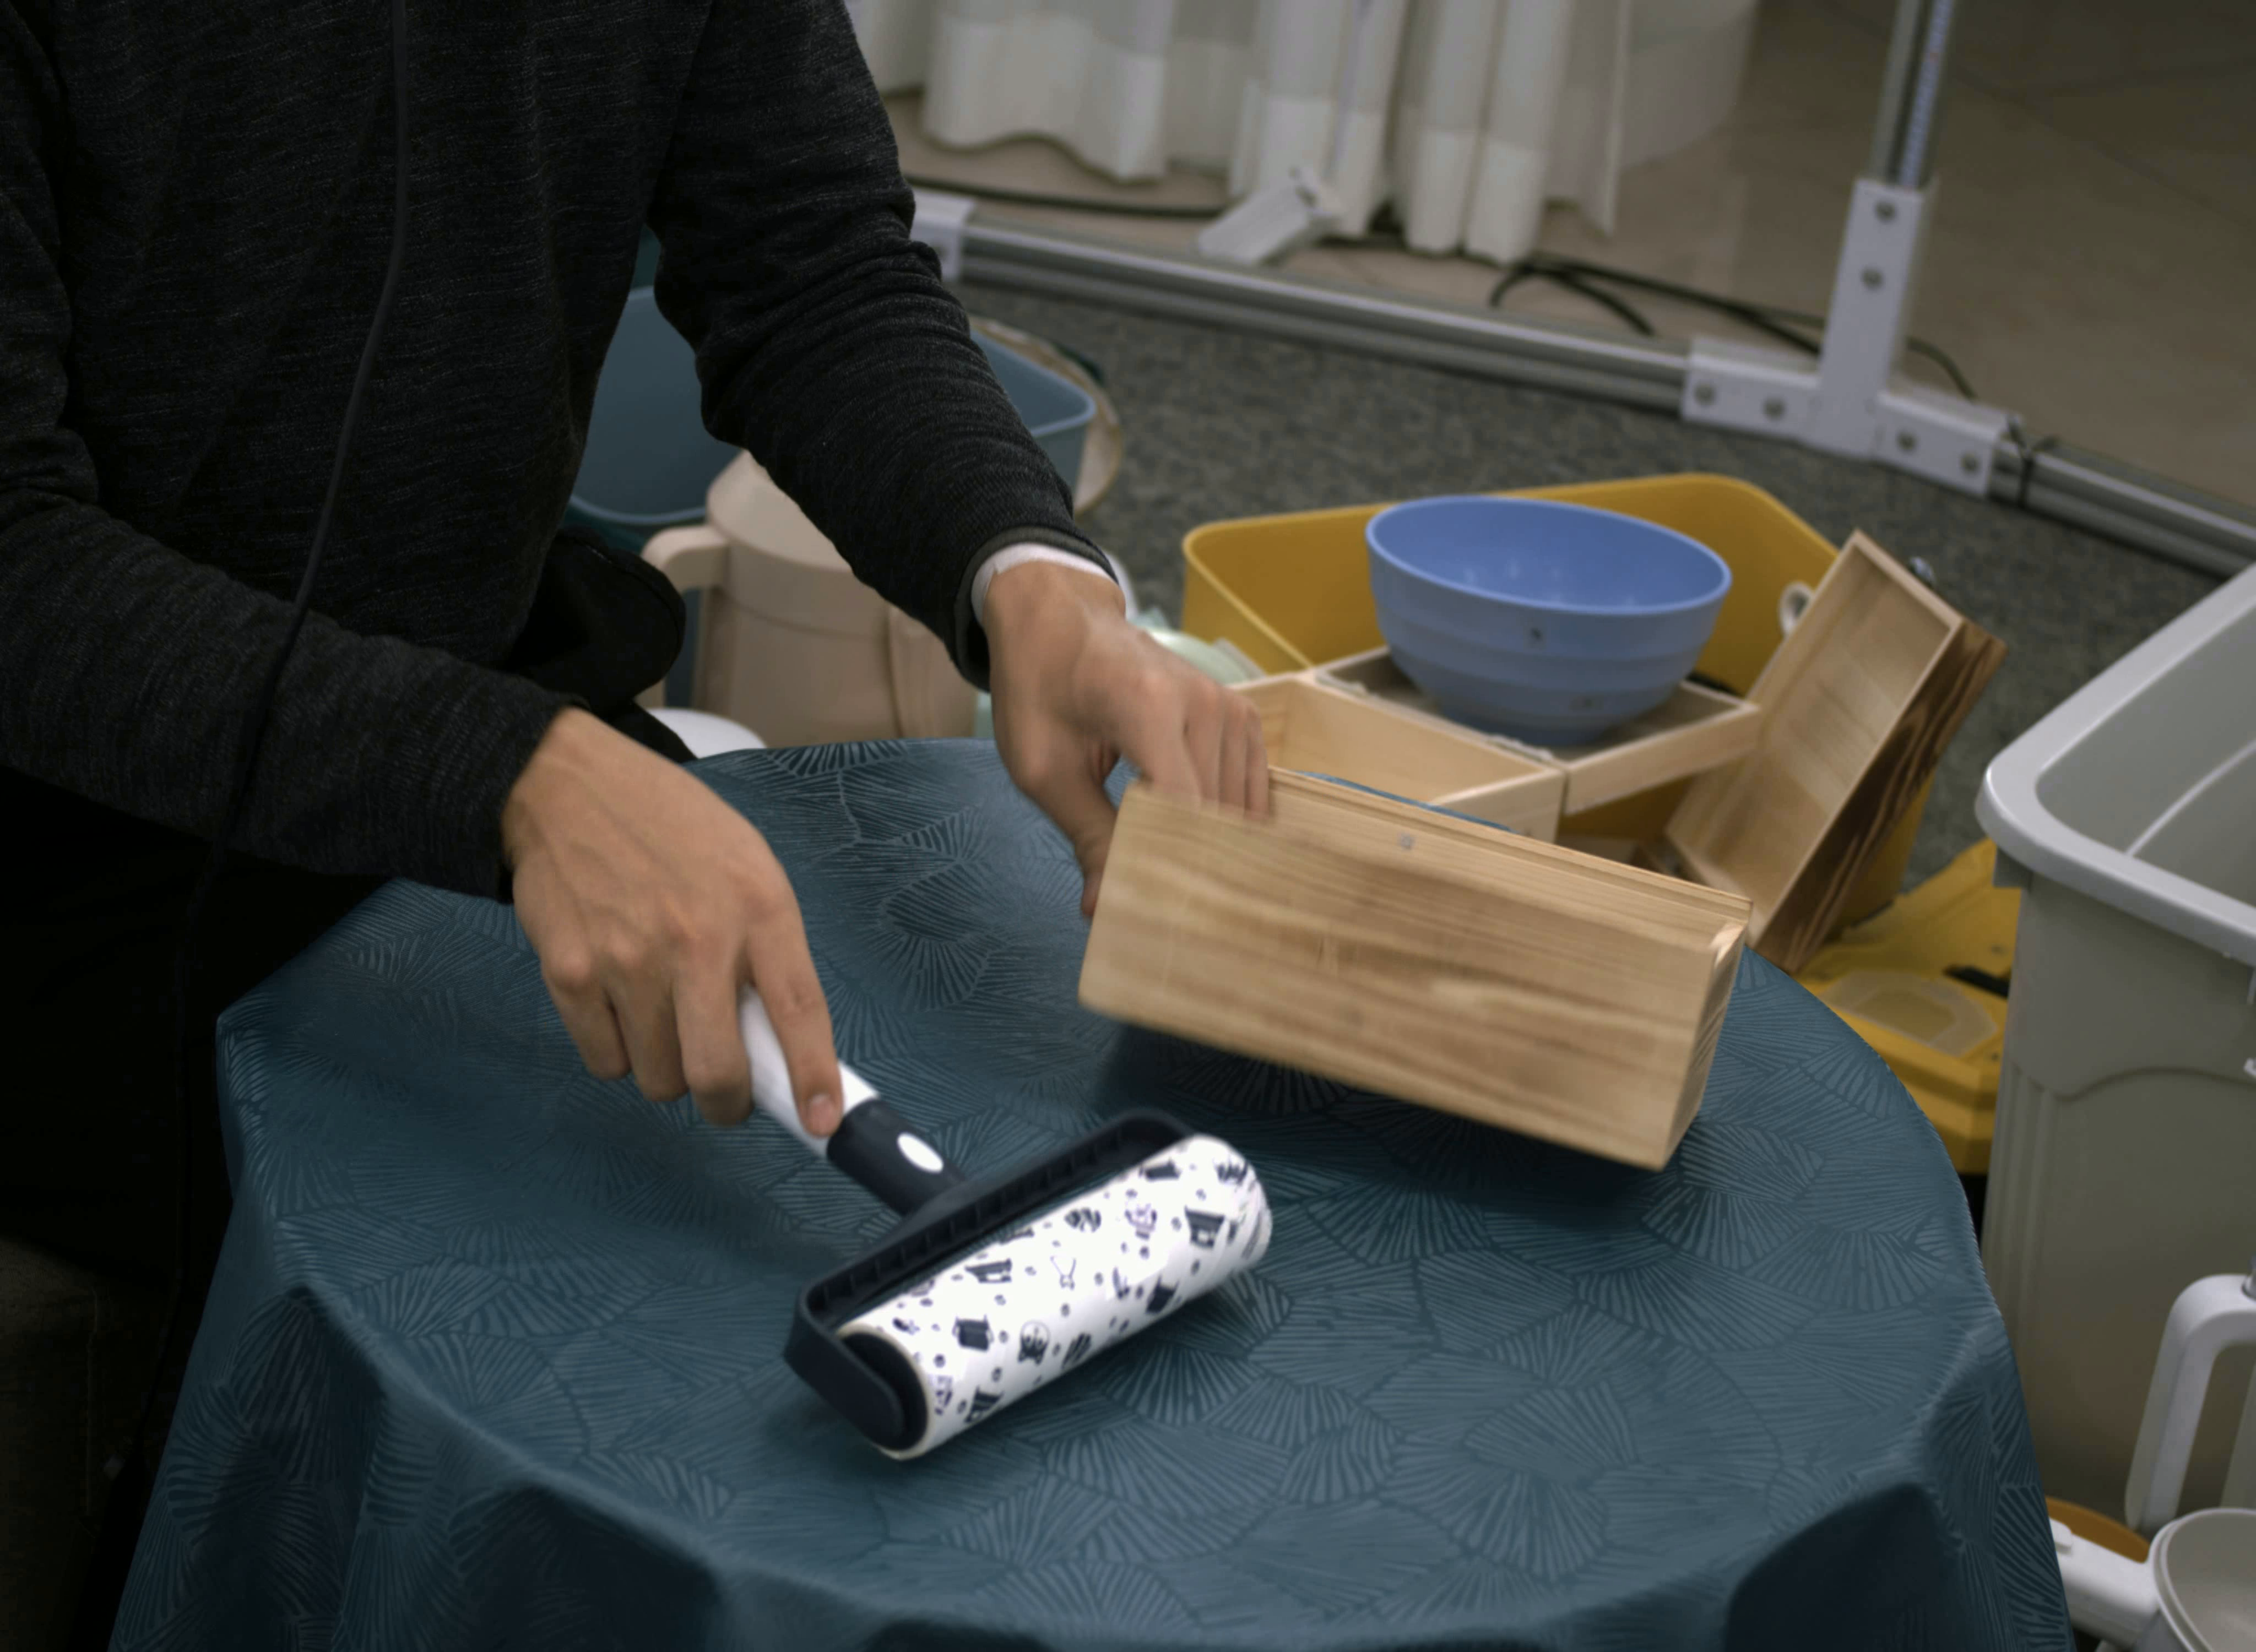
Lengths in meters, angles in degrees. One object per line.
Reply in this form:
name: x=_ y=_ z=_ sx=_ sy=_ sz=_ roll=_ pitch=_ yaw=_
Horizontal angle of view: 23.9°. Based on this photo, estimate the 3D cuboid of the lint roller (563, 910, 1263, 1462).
lint roller: x=-0.097 y=0.096 z=1.733 sx=0.249 sy=0.050 sz=0.175 roll=38 pitch=41 yaw=27

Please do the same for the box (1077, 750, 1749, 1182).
box: x=0.100 y=0.047 z=1.856 sx=0.211 sy=0.080 sz=0.107 roll=15 pitch=15 yaw=10
